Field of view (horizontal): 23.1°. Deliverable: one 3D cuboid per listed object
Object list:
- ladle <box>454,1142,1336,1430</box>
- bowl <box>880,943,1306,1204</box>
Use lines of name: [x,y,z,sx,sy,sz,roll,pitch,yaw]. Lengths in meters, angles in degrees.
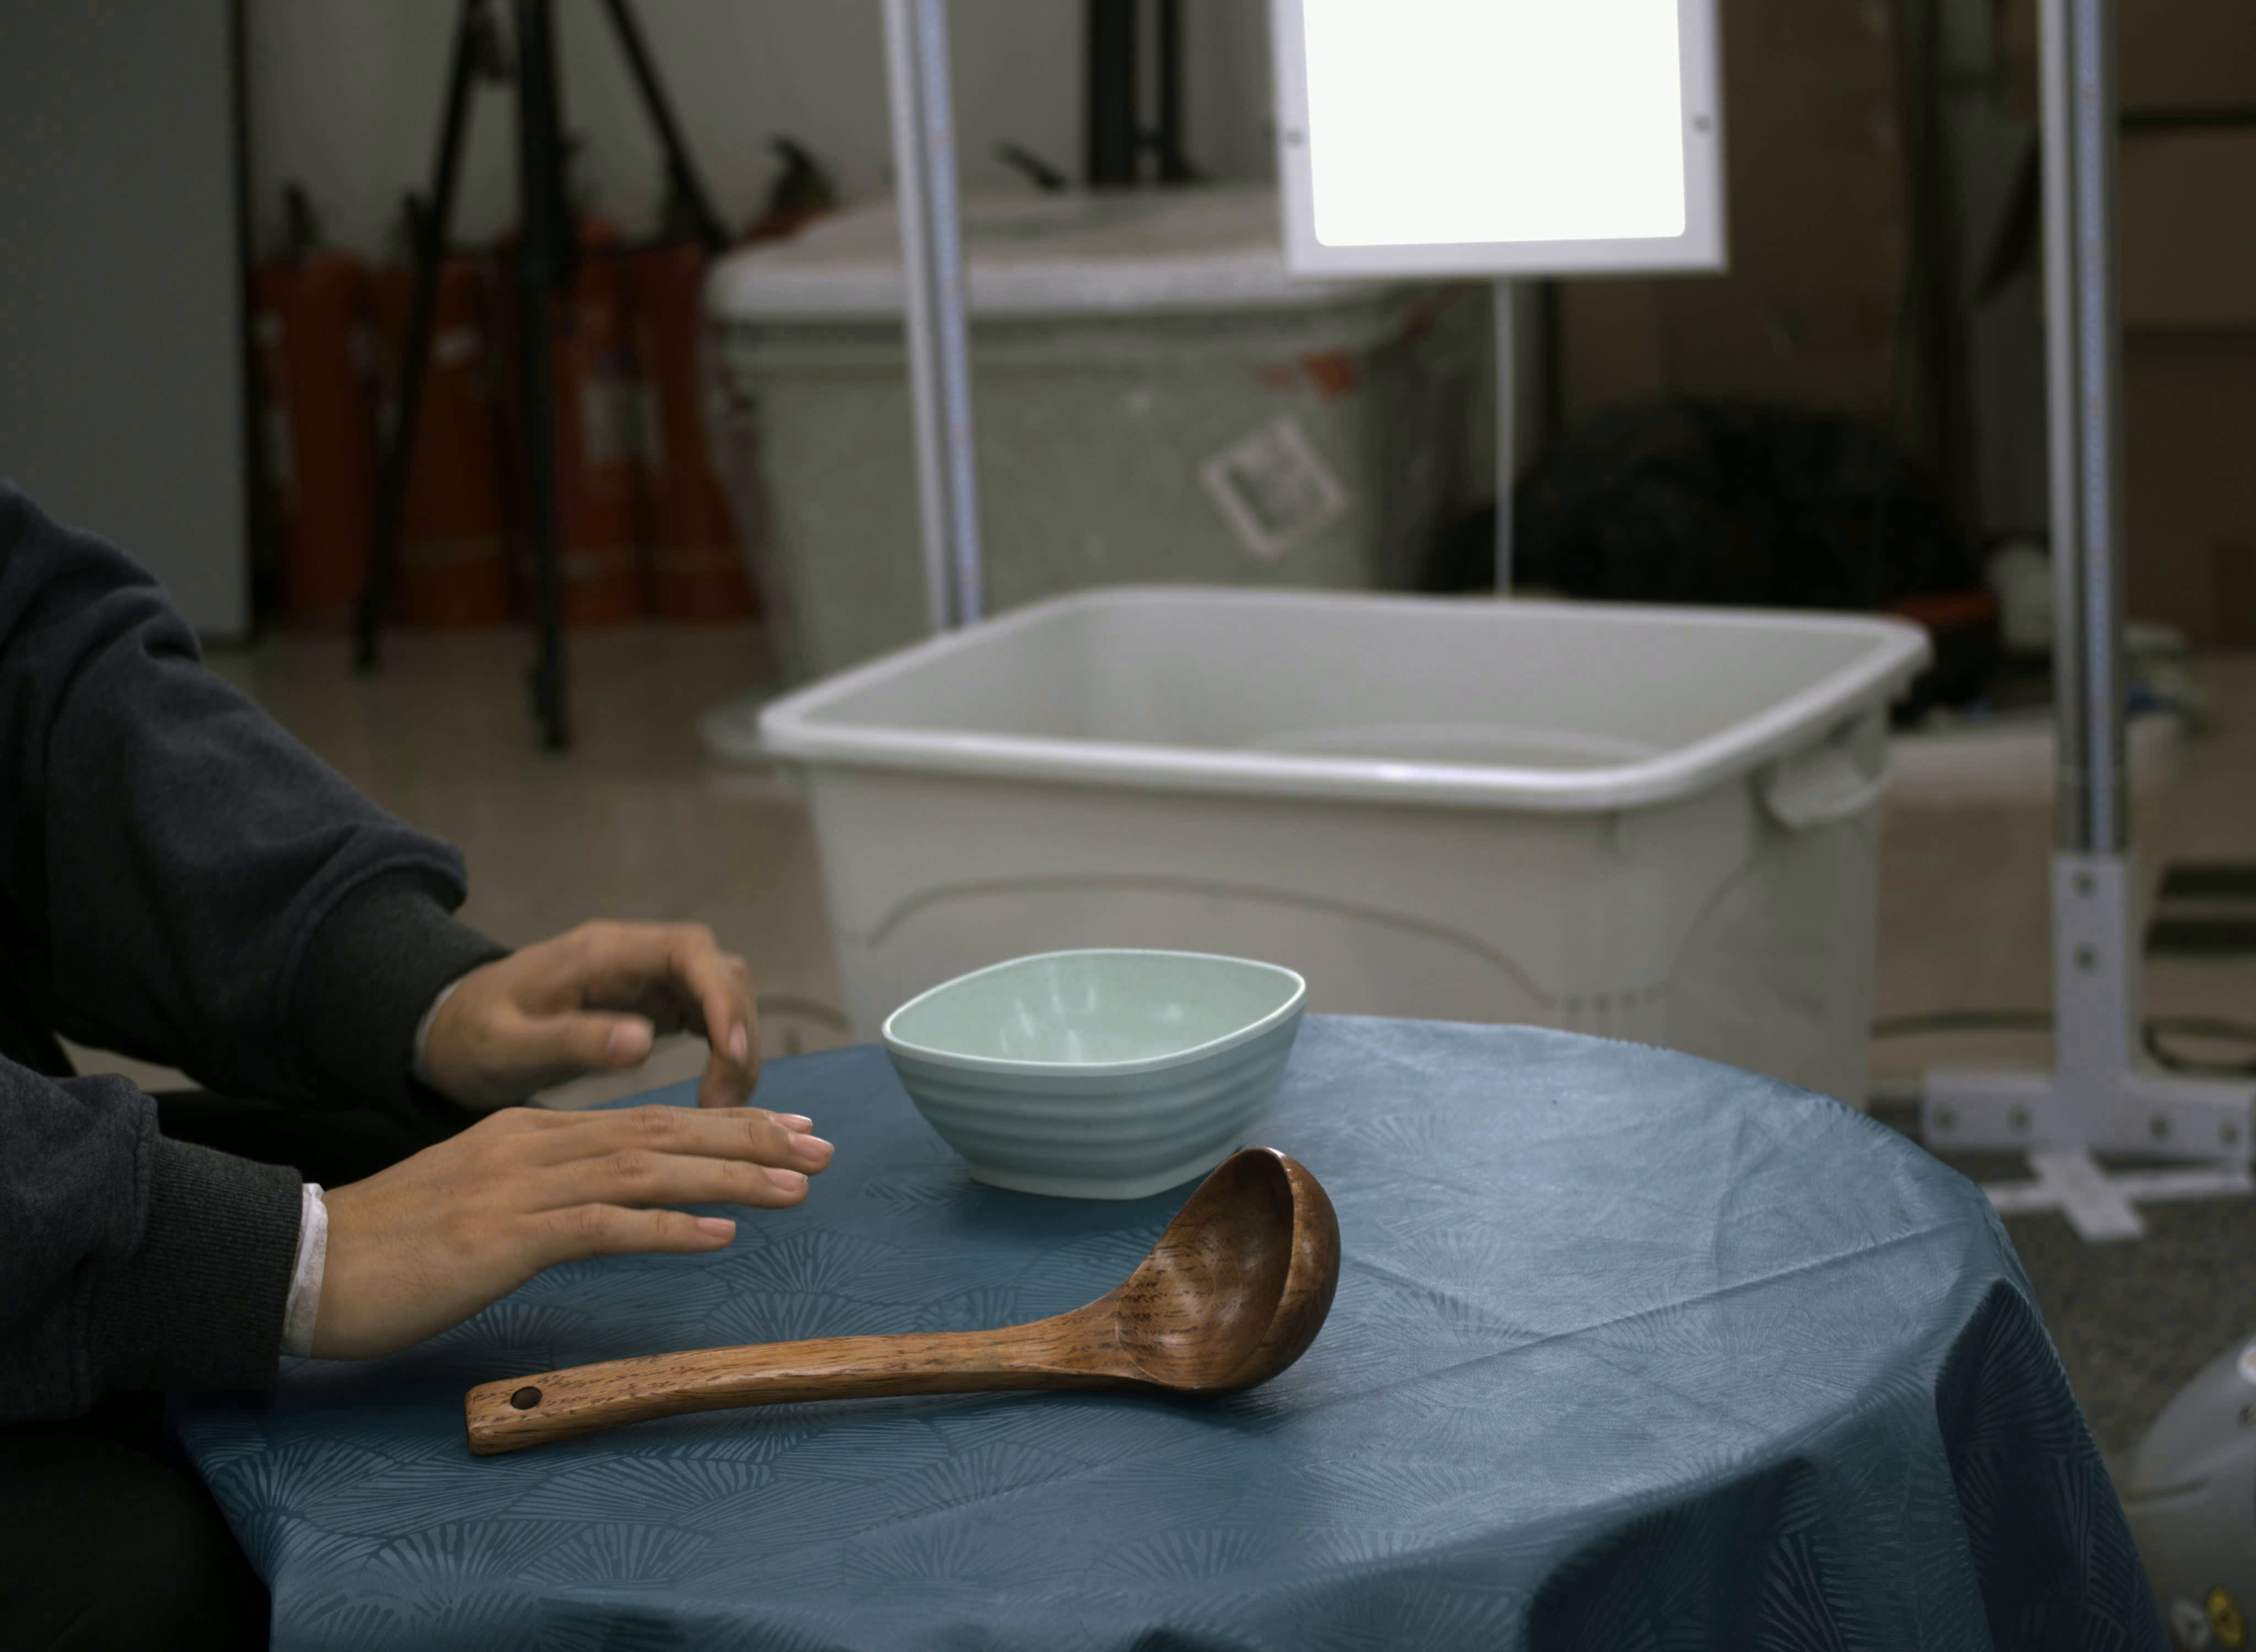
ladle: [-0.072,0.146,1.685,0.273,0.077,0.082,-4,40,0]
bowl: [-0.011,0.090,1.929,0.151,0.059,0.151,-3,15,-1]
